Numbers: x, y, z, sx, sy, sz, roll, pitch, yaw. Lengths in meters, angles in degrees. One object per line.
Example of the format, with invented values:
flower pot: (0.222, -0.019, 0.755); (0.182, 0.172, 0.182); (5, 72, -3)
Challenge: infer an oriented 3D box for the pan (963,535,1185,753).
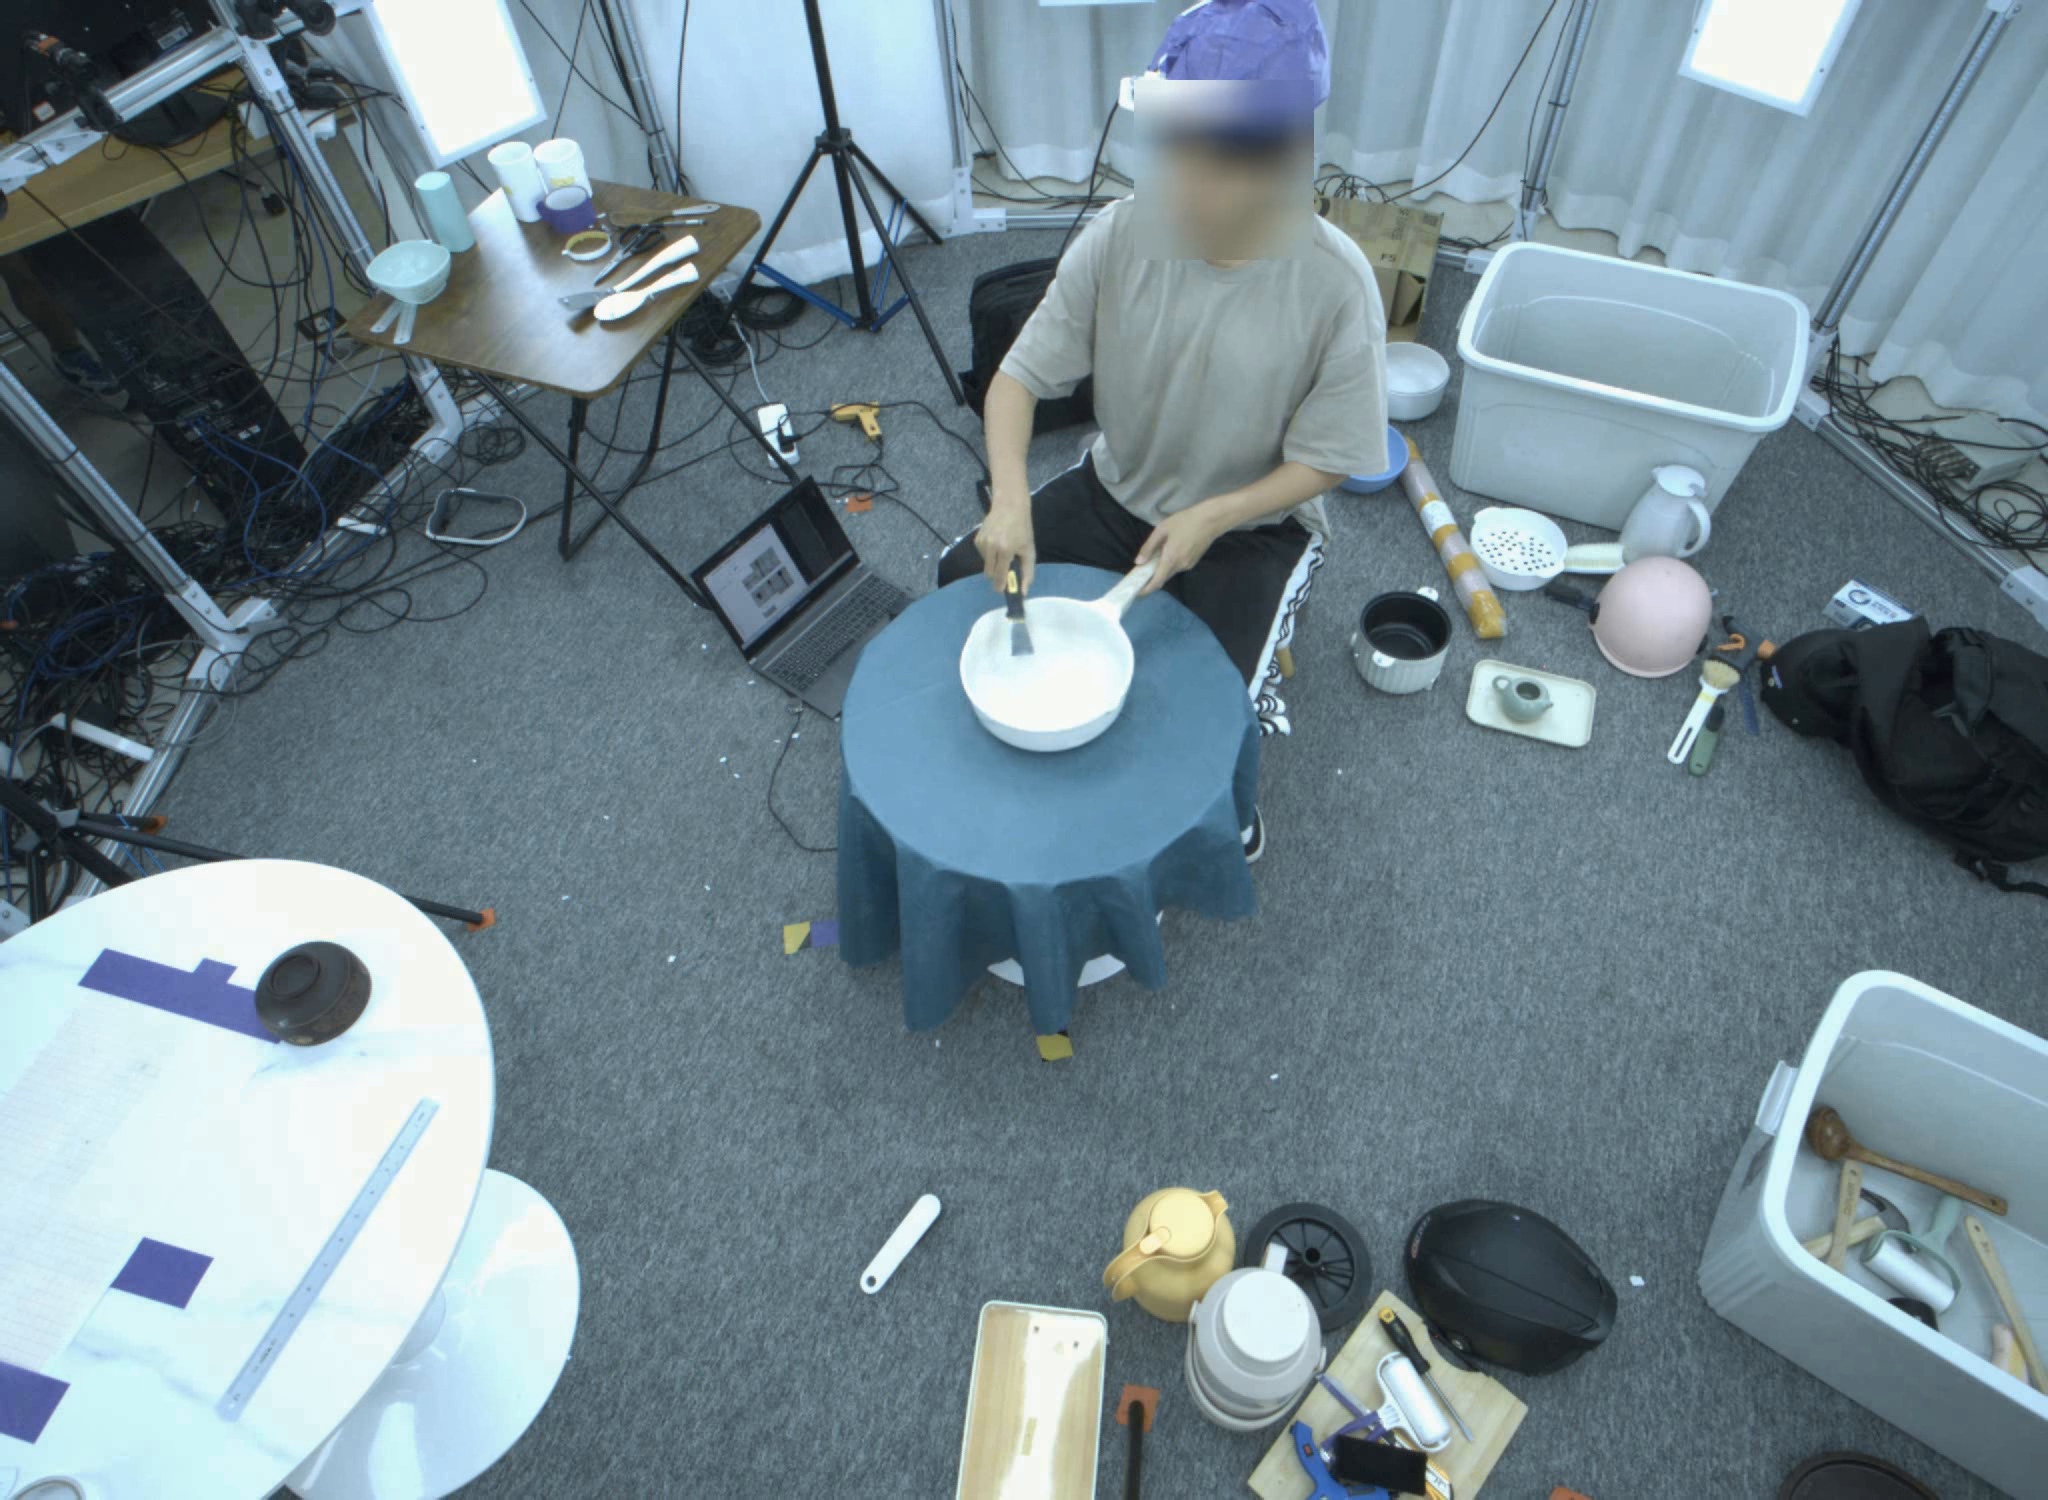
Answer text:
pan: (0.101, -0.163, 1.837); (0.258, 0.103, 0.437); (34, 63, 26)

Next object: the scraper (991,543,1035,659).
scraper: (-0.019, -0.220, 1.803); (0.039, 0.015, 0.171); (-11, 97, 4)
